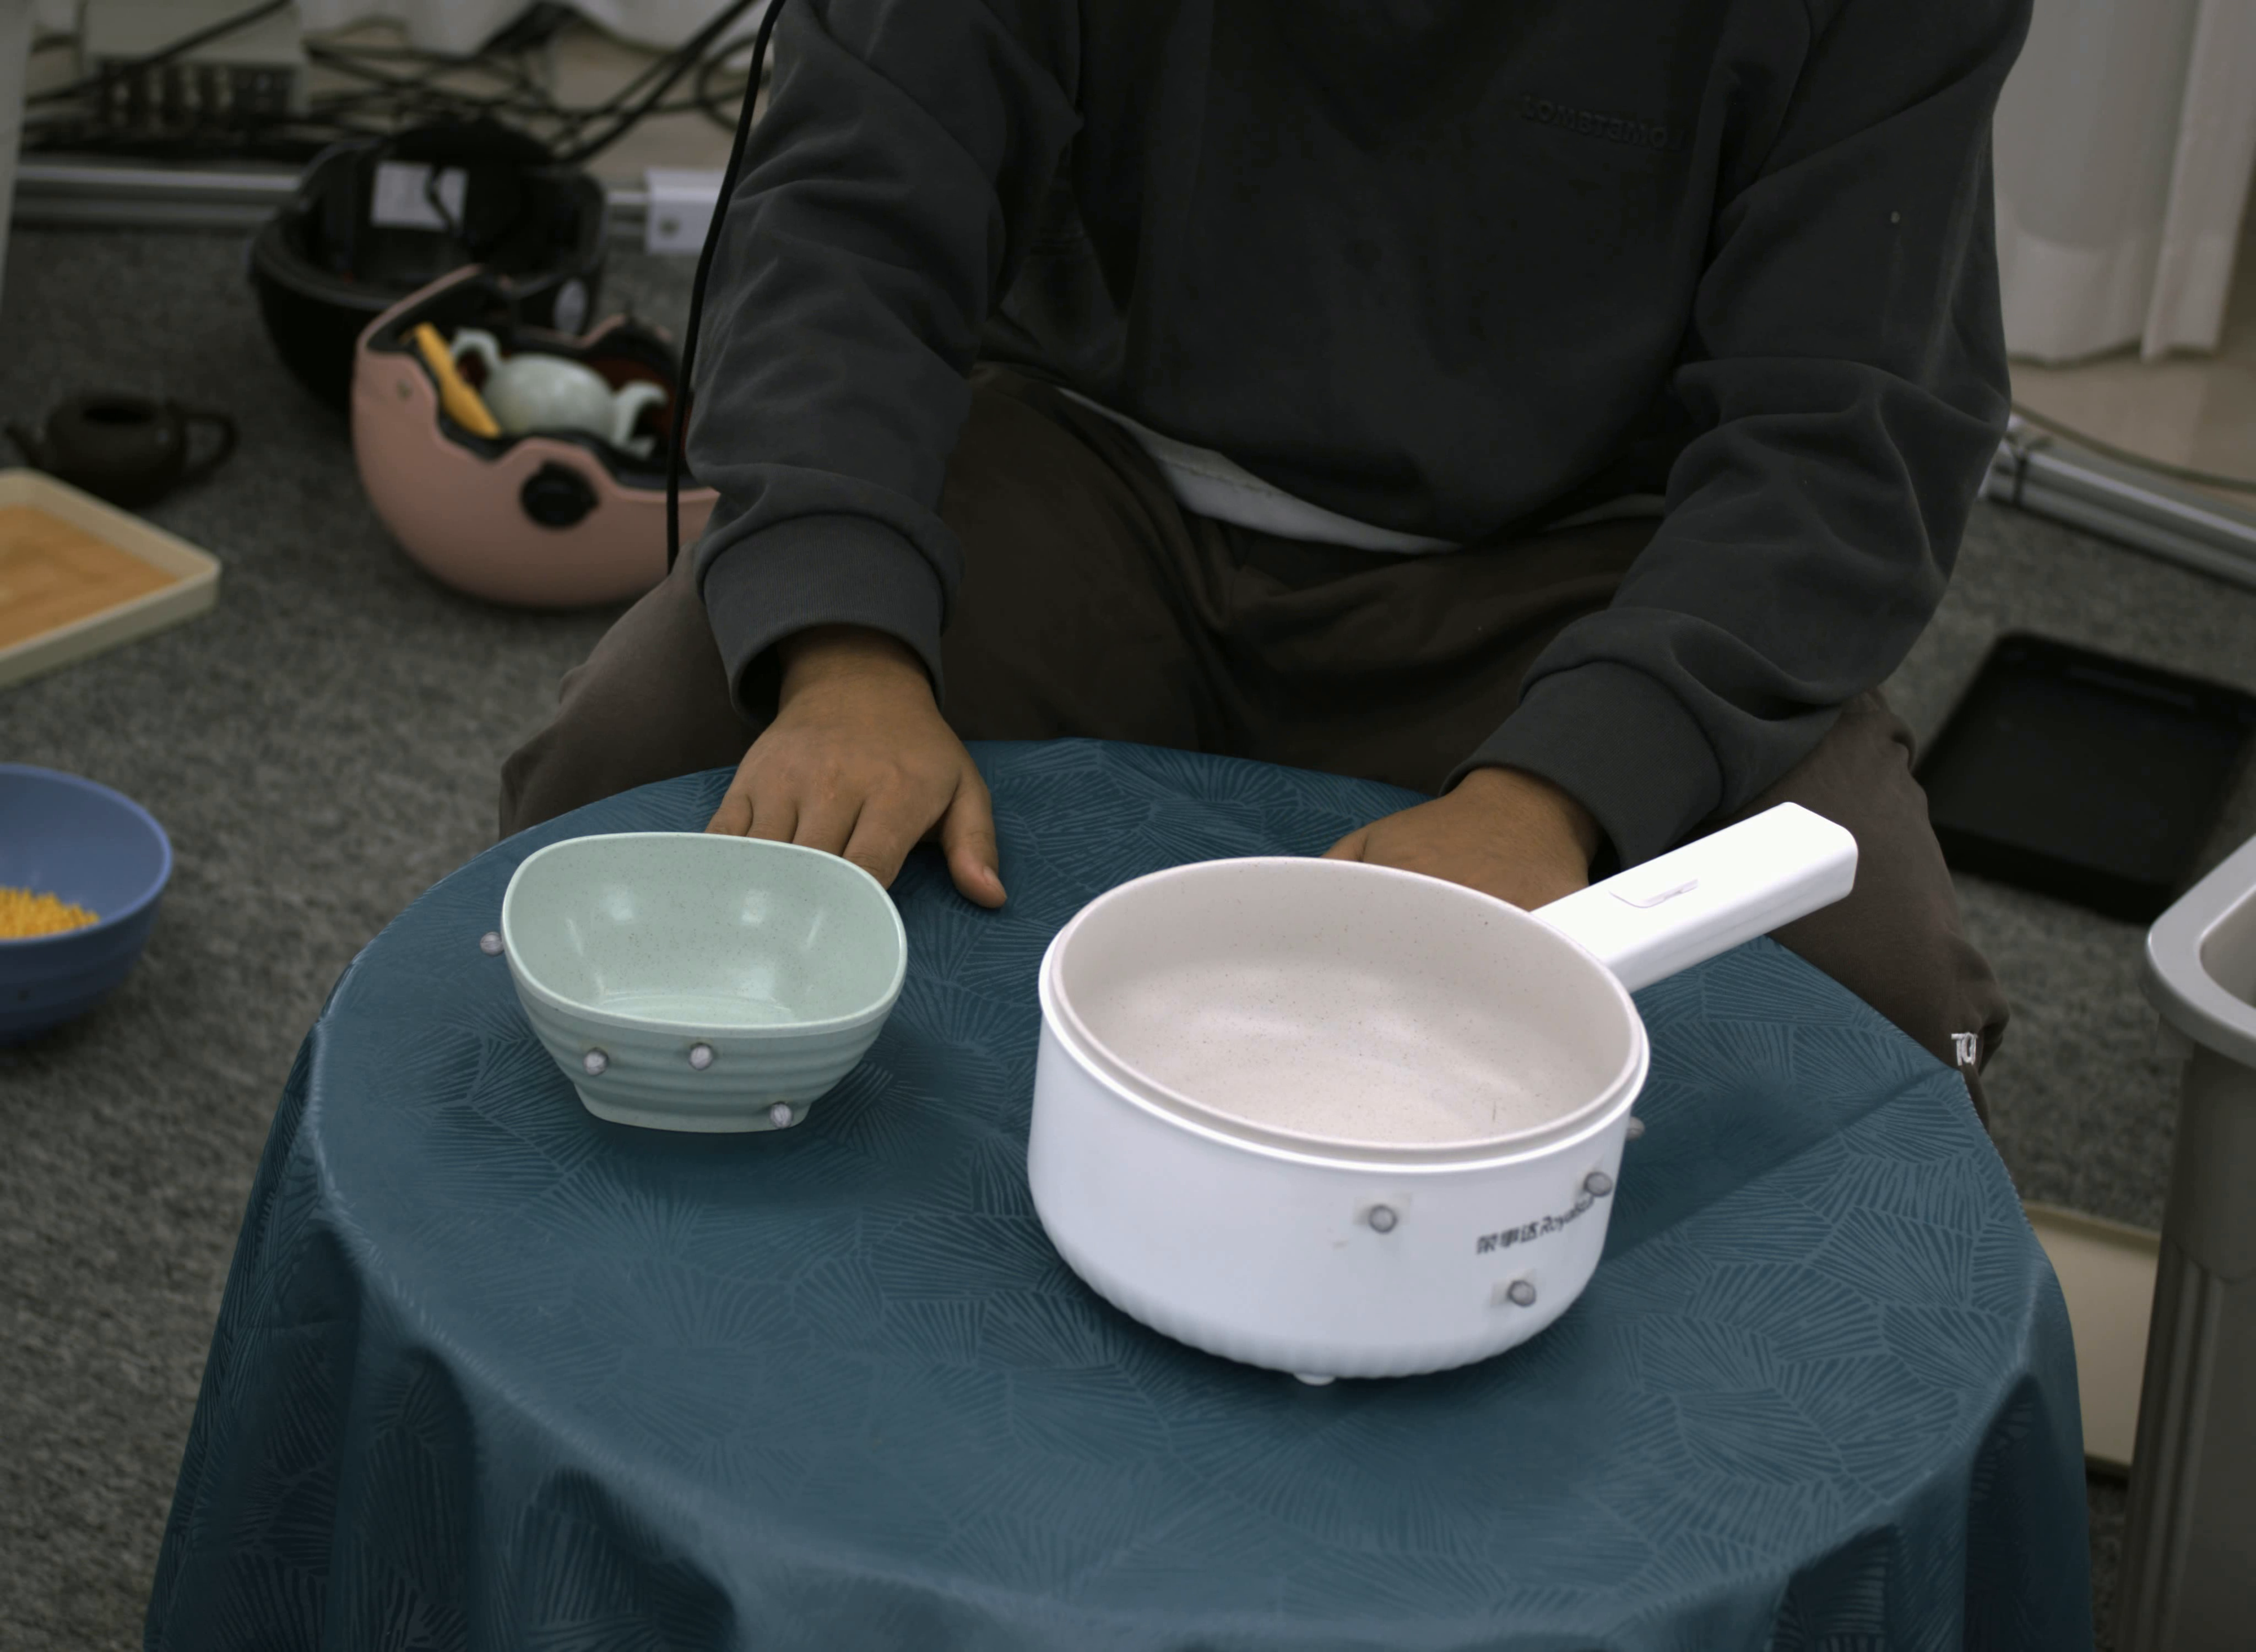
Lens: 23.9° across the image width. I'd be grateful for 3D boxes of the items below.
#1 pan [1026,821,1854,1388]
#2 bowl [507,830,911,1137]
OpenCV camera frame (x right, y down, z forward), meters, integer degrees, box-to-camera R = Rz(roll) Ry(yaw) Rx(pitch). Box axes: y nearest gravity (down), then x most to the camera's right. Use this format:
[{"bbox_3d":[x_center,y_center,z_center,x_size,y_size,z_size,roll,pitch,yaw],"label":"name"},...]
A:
[{"bbox_3d":[0.118,0.085,1.811,0.203,0.102,0.353,27,31,37],"label":"pan"},{"bbox_3d":[-0.146,0.060,1.836,0.151,0.058,0.152,5,28,-3],"label":"bowl"}]
